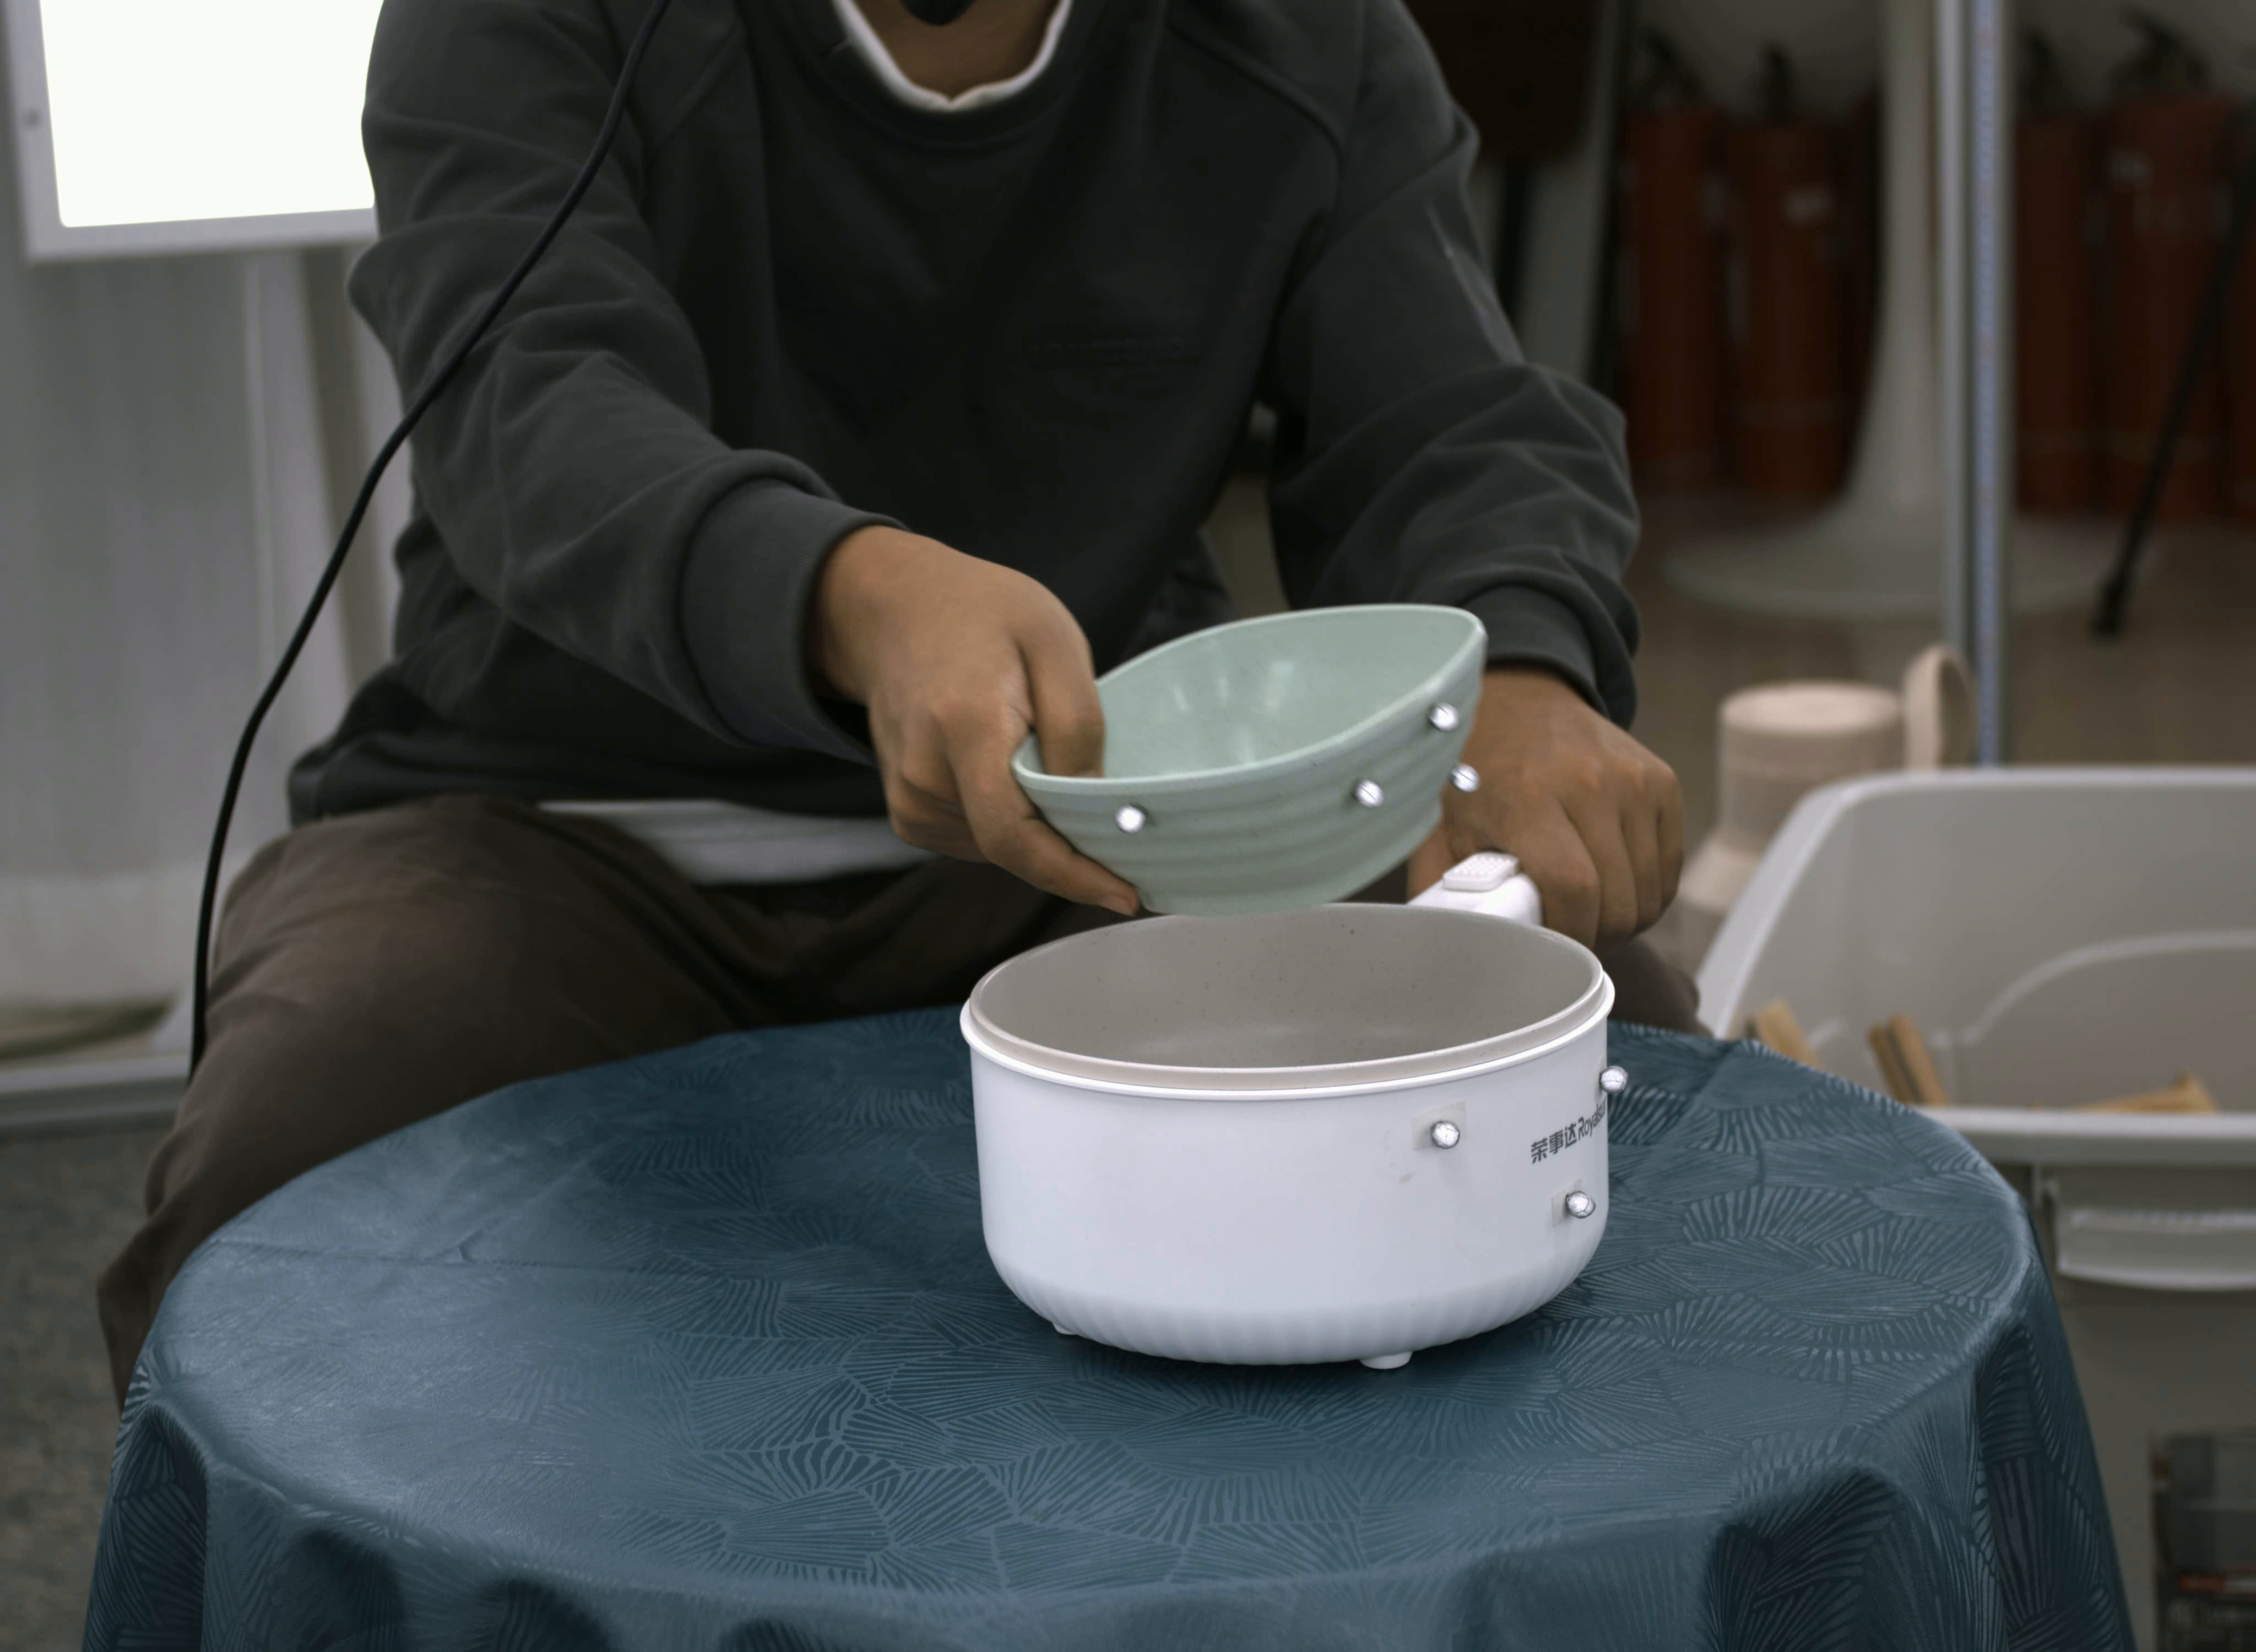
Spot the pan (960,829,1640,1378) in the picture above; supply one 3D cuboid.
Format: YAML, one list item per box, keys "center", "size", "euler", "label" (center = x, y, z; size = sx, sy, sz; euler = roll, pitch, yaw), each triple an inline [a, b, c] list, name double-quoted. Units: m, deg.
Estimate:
- center: [0.084, 0.084, 1.715]
  size: [0.201, 0.103, 0.350]
  euler: [0, 12, 27]
  label: "pan"

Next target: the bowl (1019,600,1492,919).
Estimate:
- center: [0.045, -0.016, 1.646]
  size: [0.150, 0.059, 0.152]
  euler: [-14, 19, 4]
  label: "bowl"
